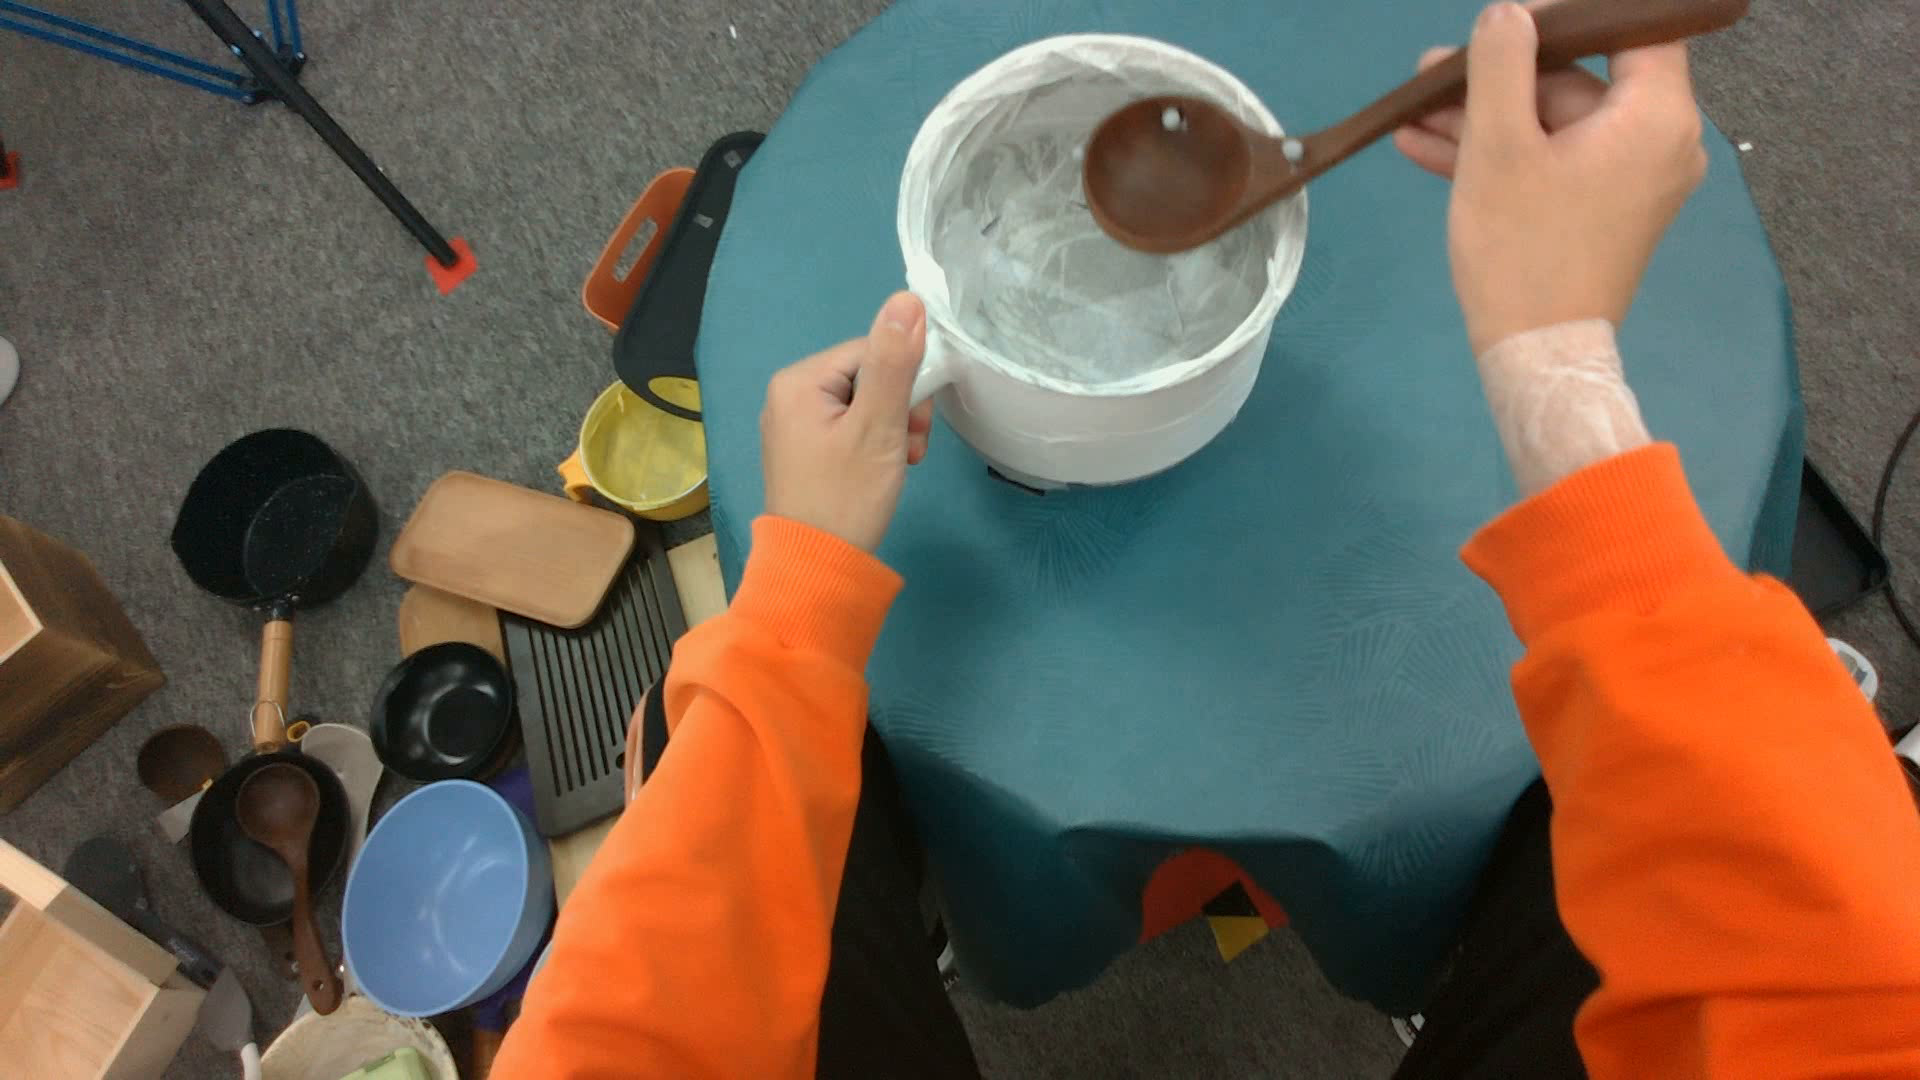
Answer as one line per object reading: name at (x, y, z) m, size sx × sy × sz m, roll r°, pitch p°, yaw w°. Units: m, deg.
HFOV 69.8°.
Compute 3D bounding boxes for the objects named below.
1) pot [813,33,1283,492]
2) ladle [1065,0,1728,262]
pot at (0.030, -0.112, 0.653) m, size 0.234 × 0.136 × 0.179 m, roll -37°, pitch 73°, yaw -13°
ladle at (0.152, -0.172, 0.538) m, size 0.259 × 0.065 × 0.077 m, roll -13°, pitch 67°, yaw 45°
